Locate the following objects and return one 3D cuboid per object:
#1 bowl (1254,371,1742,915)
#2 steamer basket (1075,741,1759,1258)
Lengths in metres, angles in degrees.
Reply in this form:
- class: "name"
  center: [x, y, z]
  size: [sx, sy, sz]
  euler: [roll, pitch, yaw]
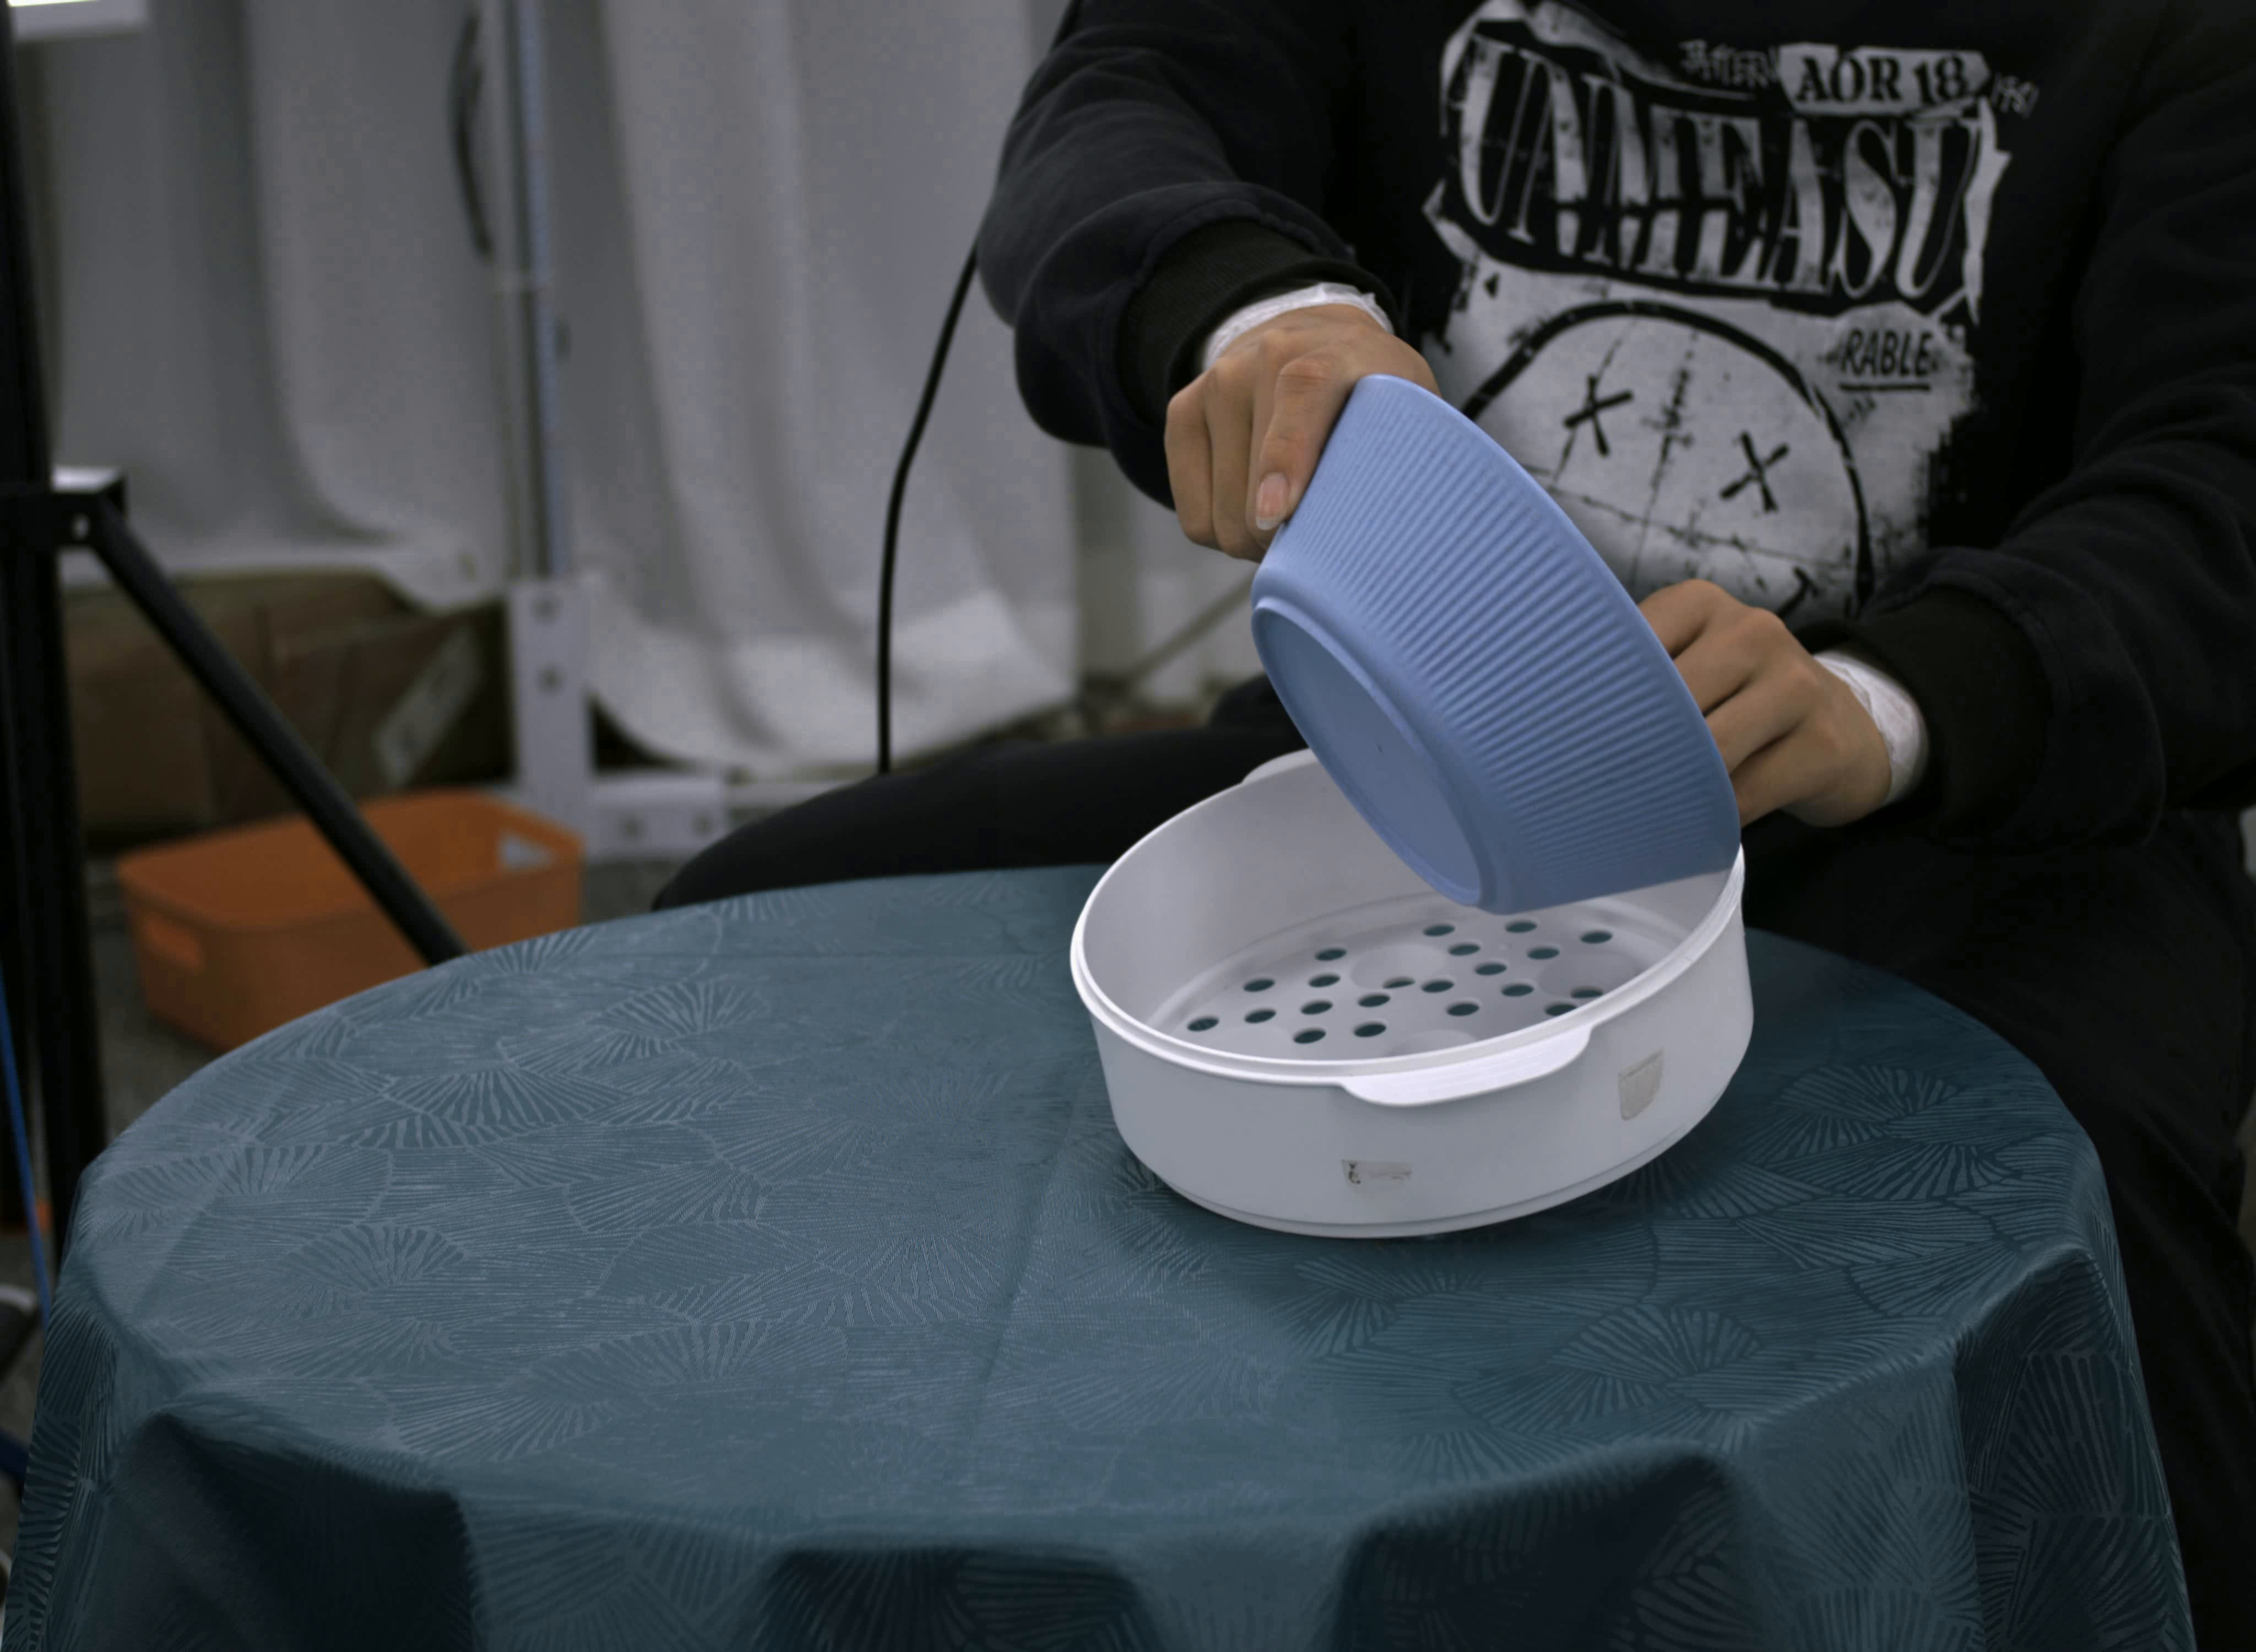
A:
- class: "bowl"
  center: [0.096, -0.040, 1.527]
  size: [0.070, 0.174, 0.179]
  euler: [-36, 24, -11]
- class: "steamer basket"
  center: [0.088, 0.050, 1.566]
  size: [0.201, 0.069, 0.233]
  euler: [-13, 29, -2]
